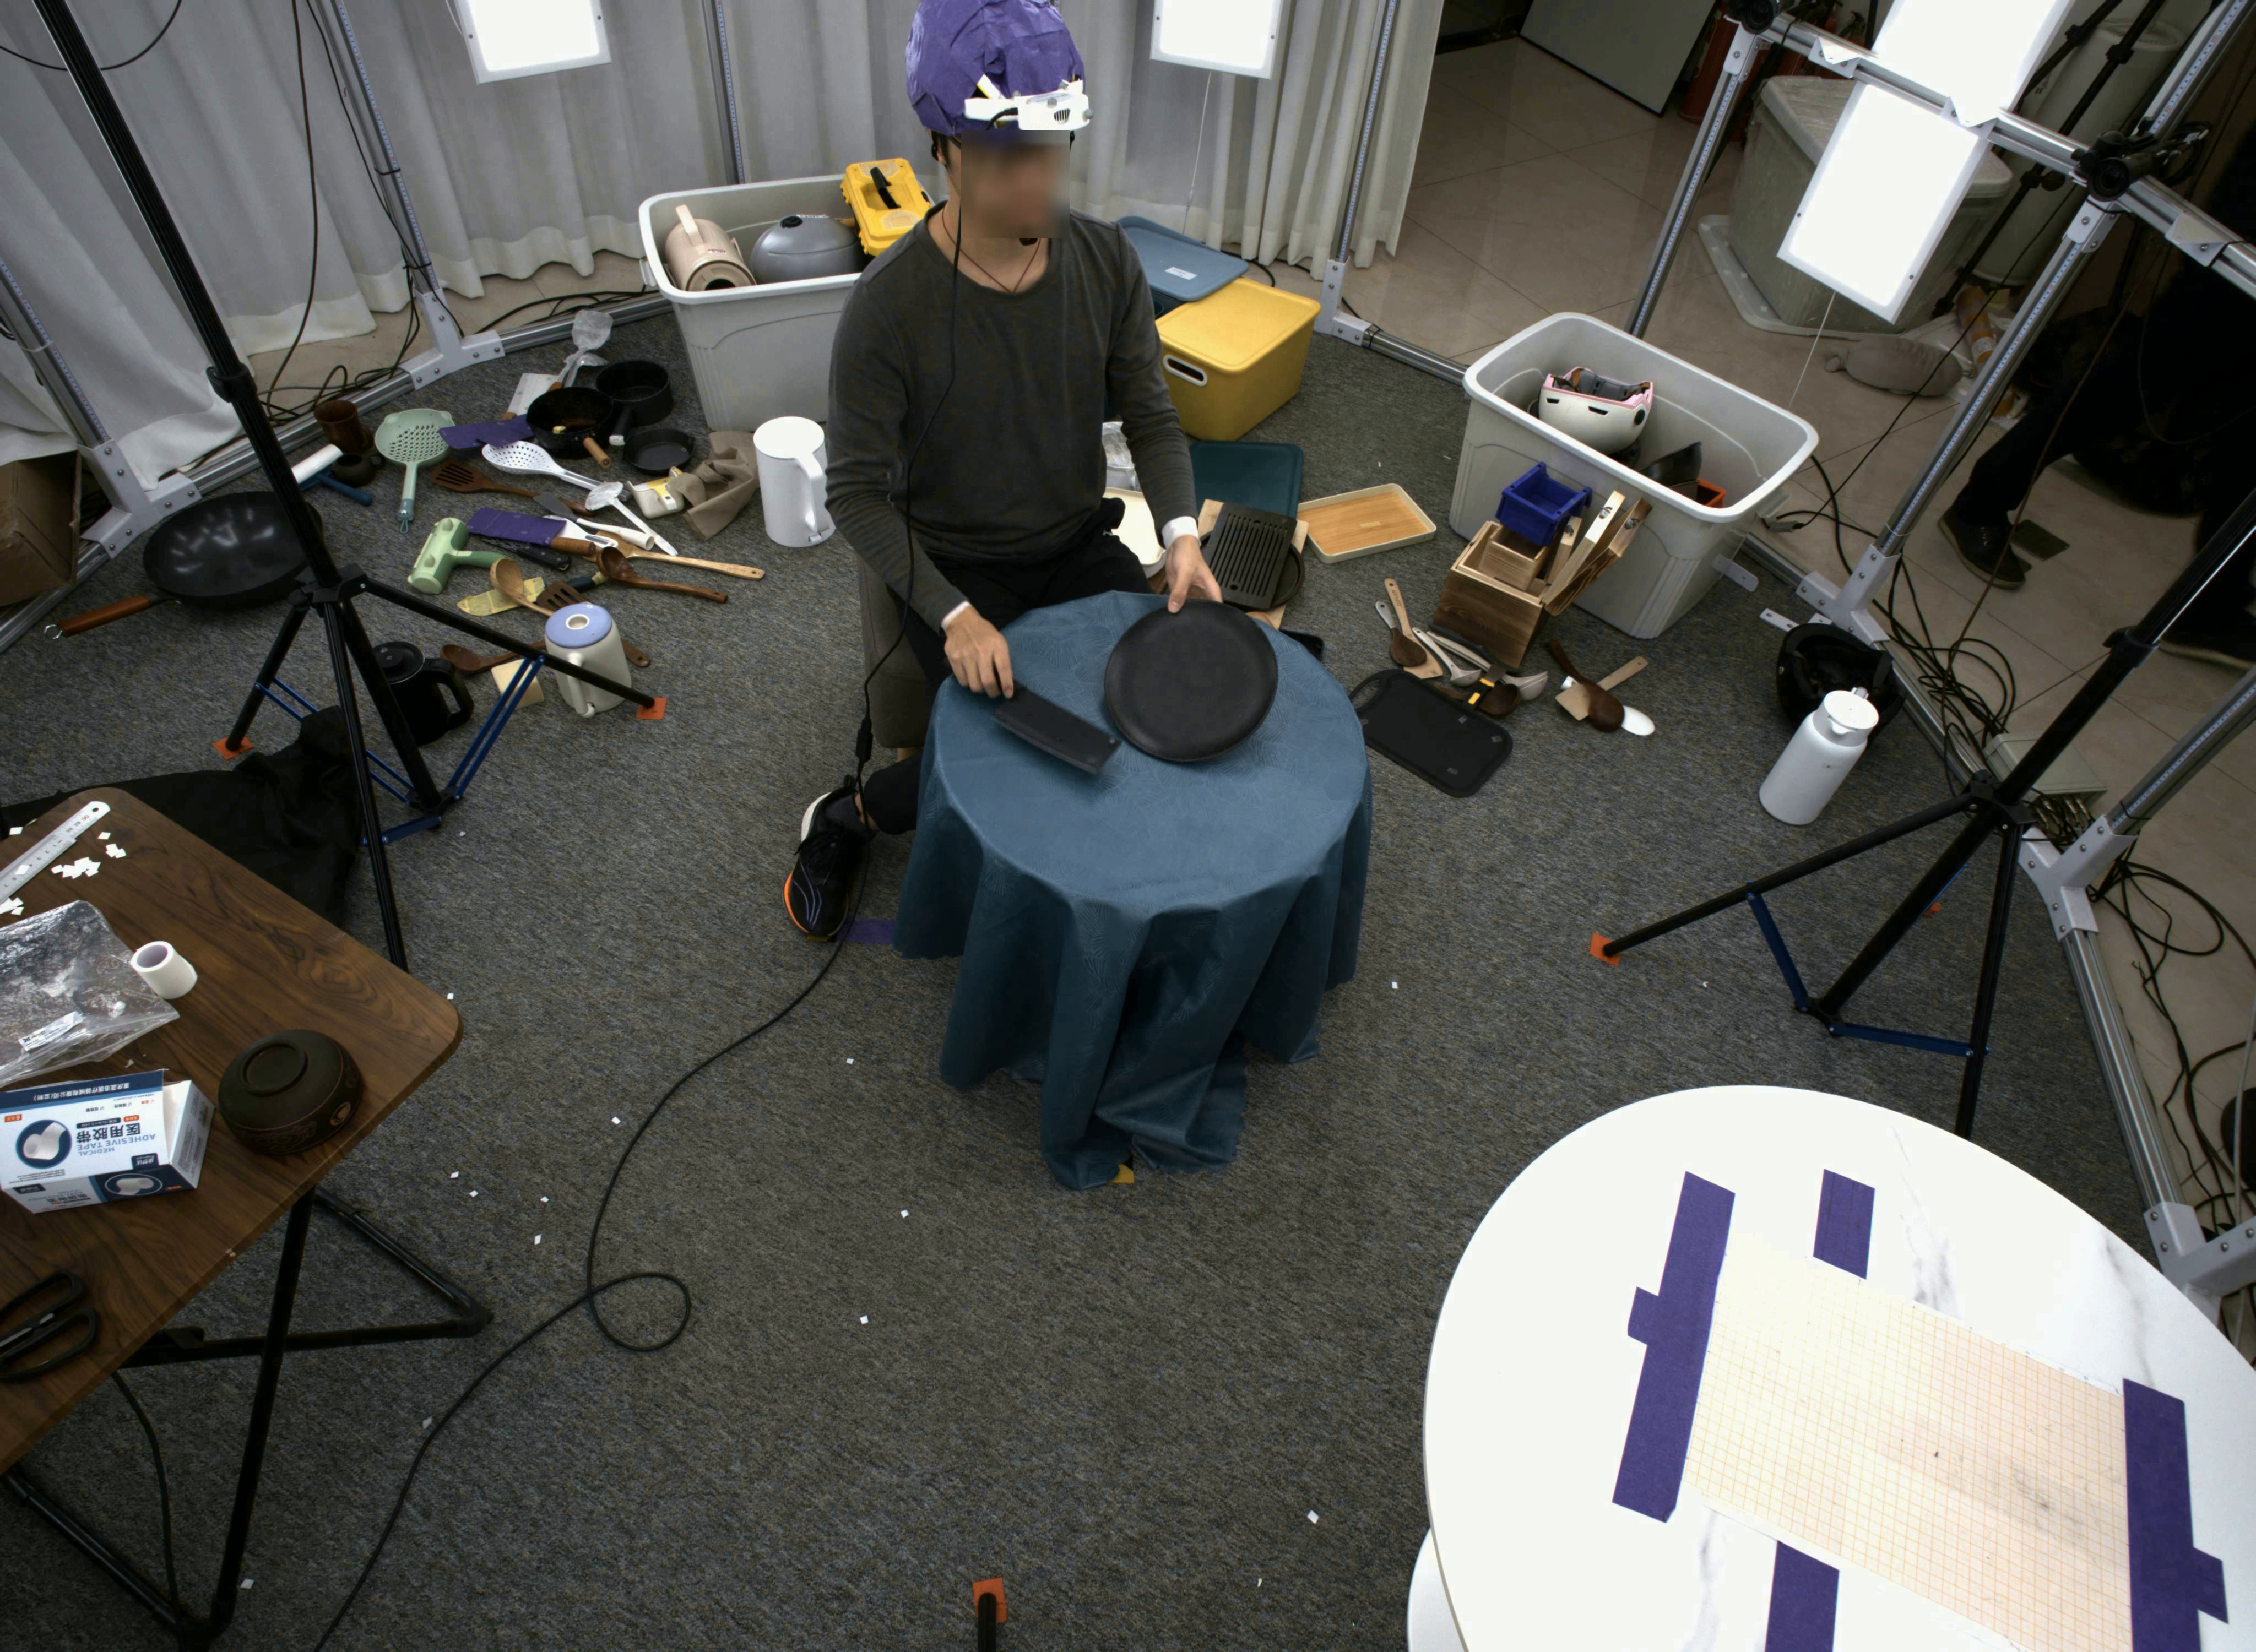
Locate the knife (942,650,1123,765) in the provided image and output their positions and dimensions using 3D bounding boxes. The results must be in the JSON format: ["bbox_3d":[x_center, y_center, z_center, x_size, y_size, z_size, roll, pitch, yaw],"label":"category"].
[{"bbox_3d":[-0.141,-0.167,1.760,0.306,0.020,0.082,33,66,27],"label":"knife"}]

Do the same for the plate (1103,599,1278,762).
[{"bbox_3d":[0.087,-0.201,1.783,0.244,0.023,0.248,-3,71,10],"label":"plate"}]
